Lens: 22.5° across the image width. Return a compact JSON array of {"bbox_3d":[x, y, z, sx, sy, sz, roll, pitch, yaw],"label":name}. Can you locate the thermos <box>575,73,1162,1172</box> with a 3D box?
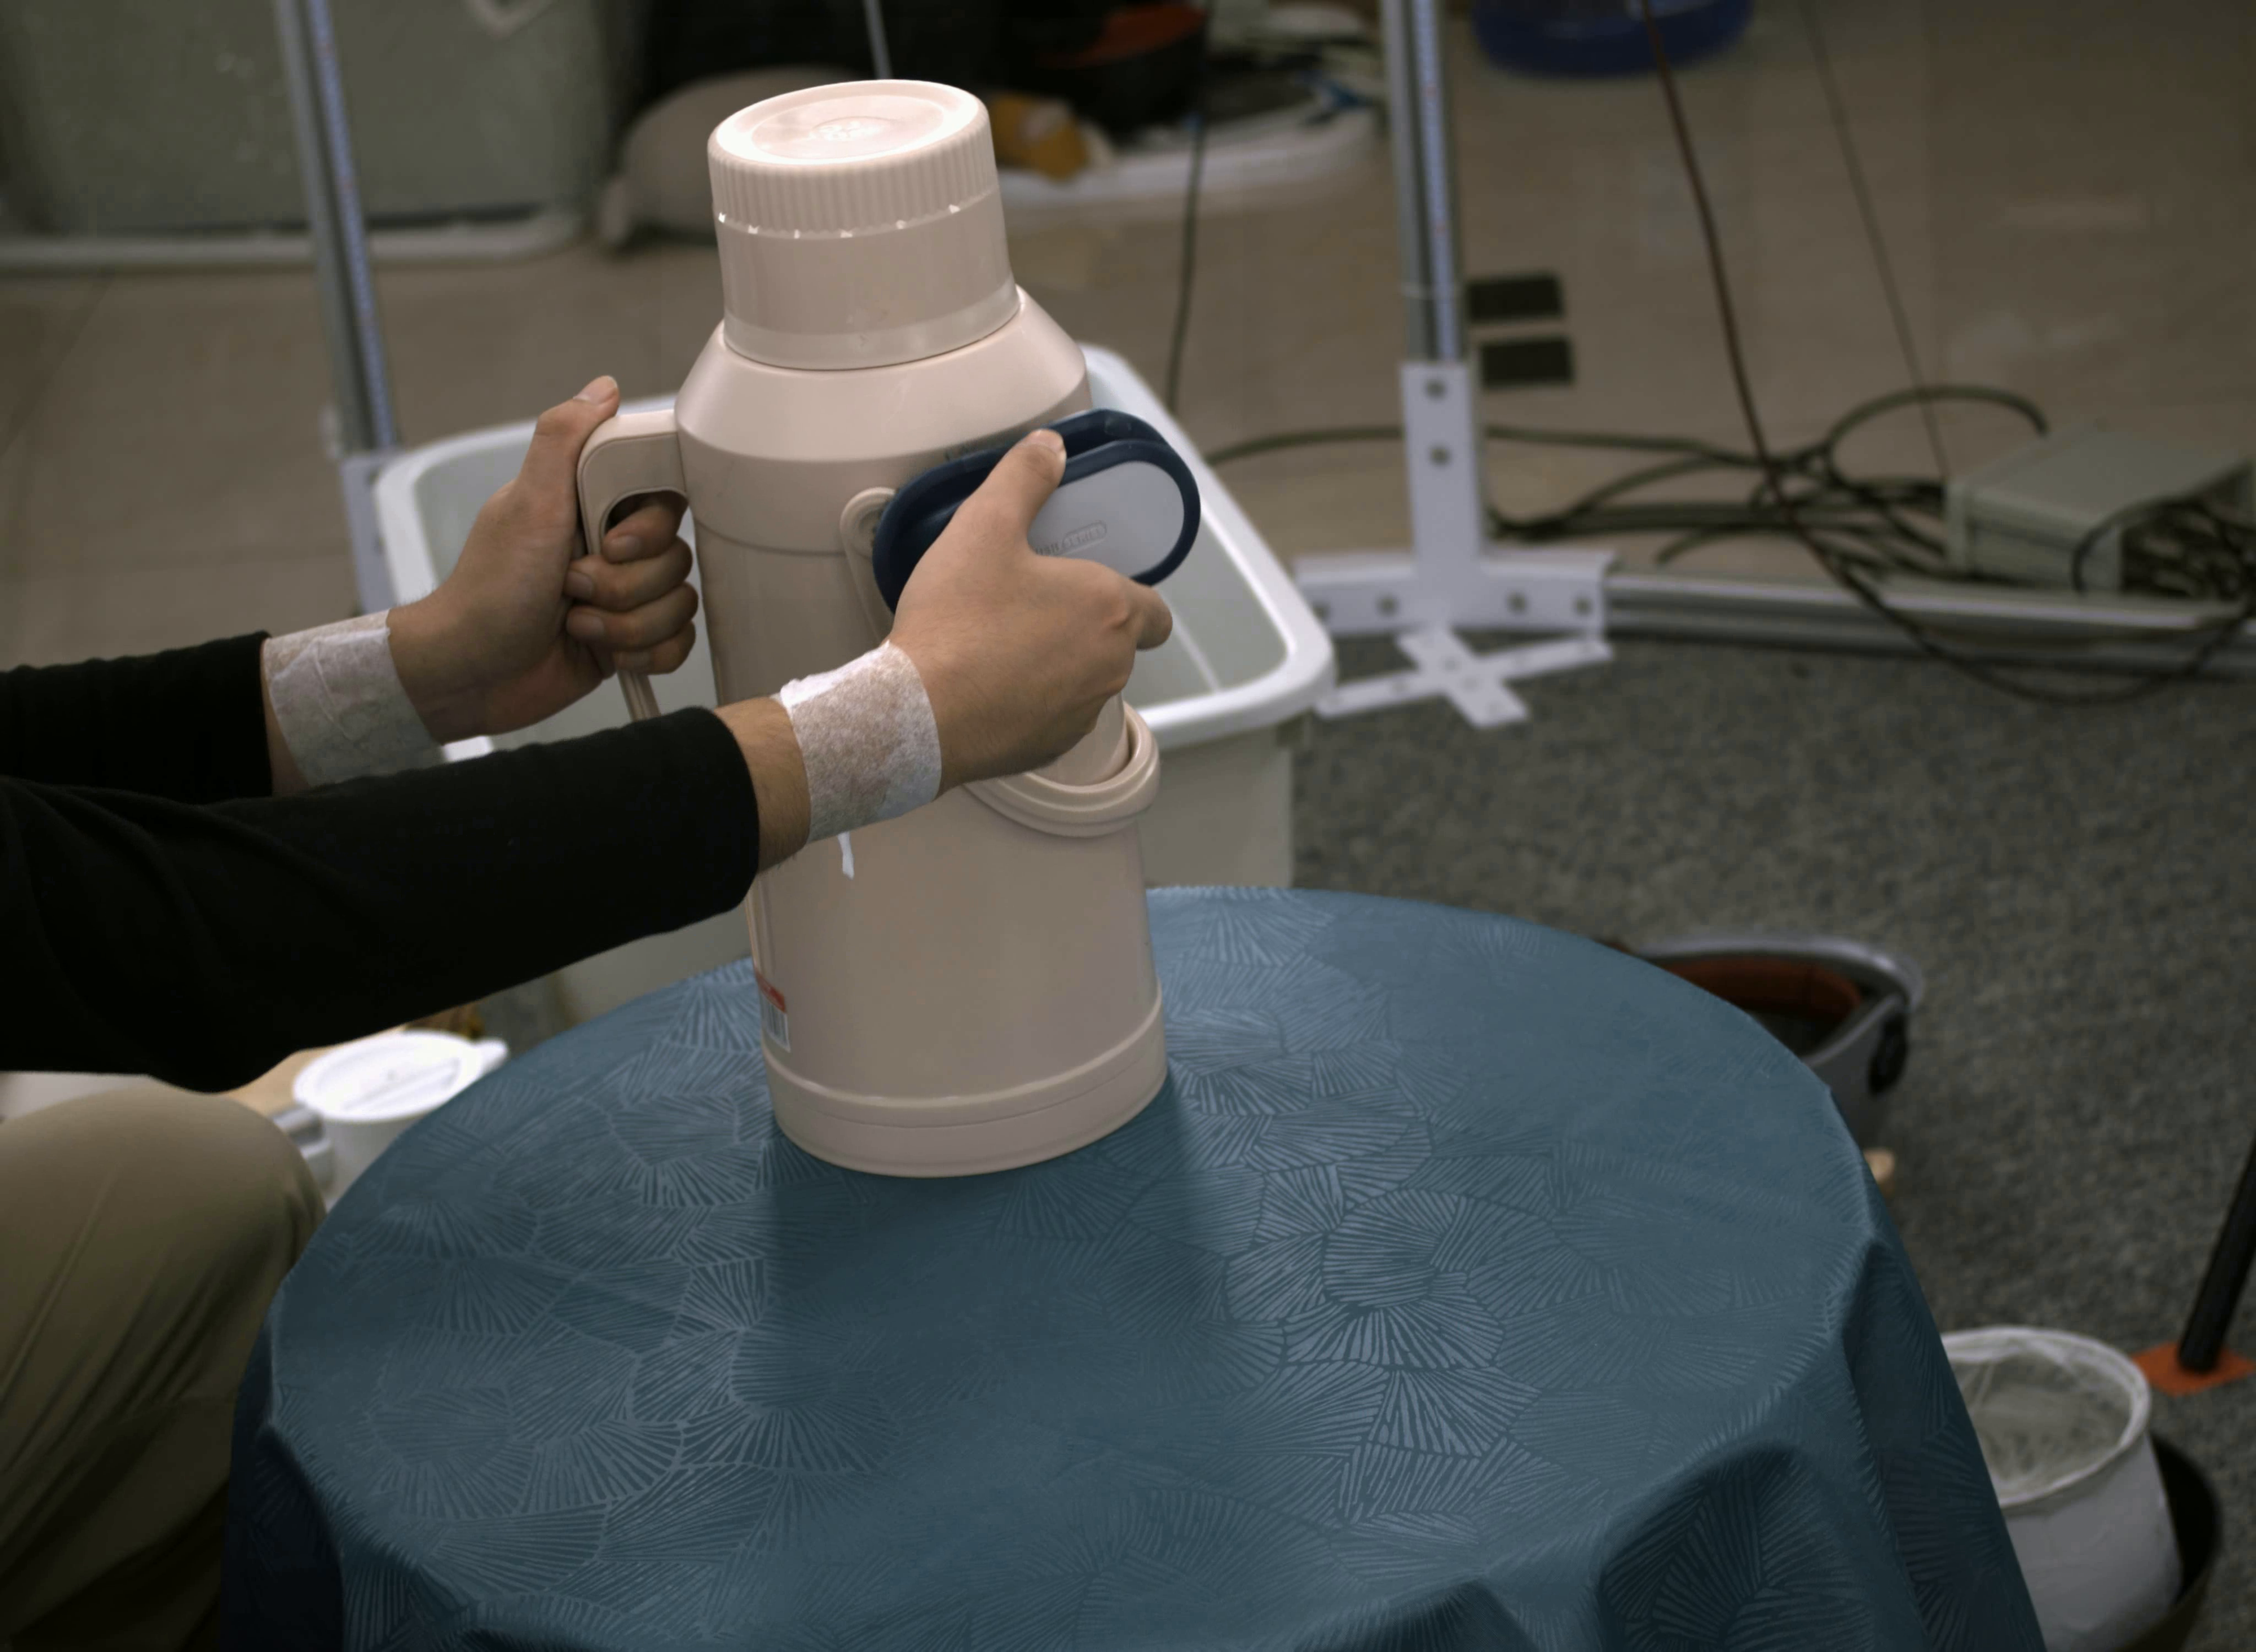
[{"bbox_3d":[-0.098,-0.077,2.159,0.207,0.413,0.172,-5,27,1],"label":"thermos"}]

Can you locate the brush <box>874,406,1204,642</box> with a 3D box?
[{"bbox_3d":[-0.034,-0.110,2.037,0.121,0.069,0.060,-19,26,-17],"label":"brush"}]
